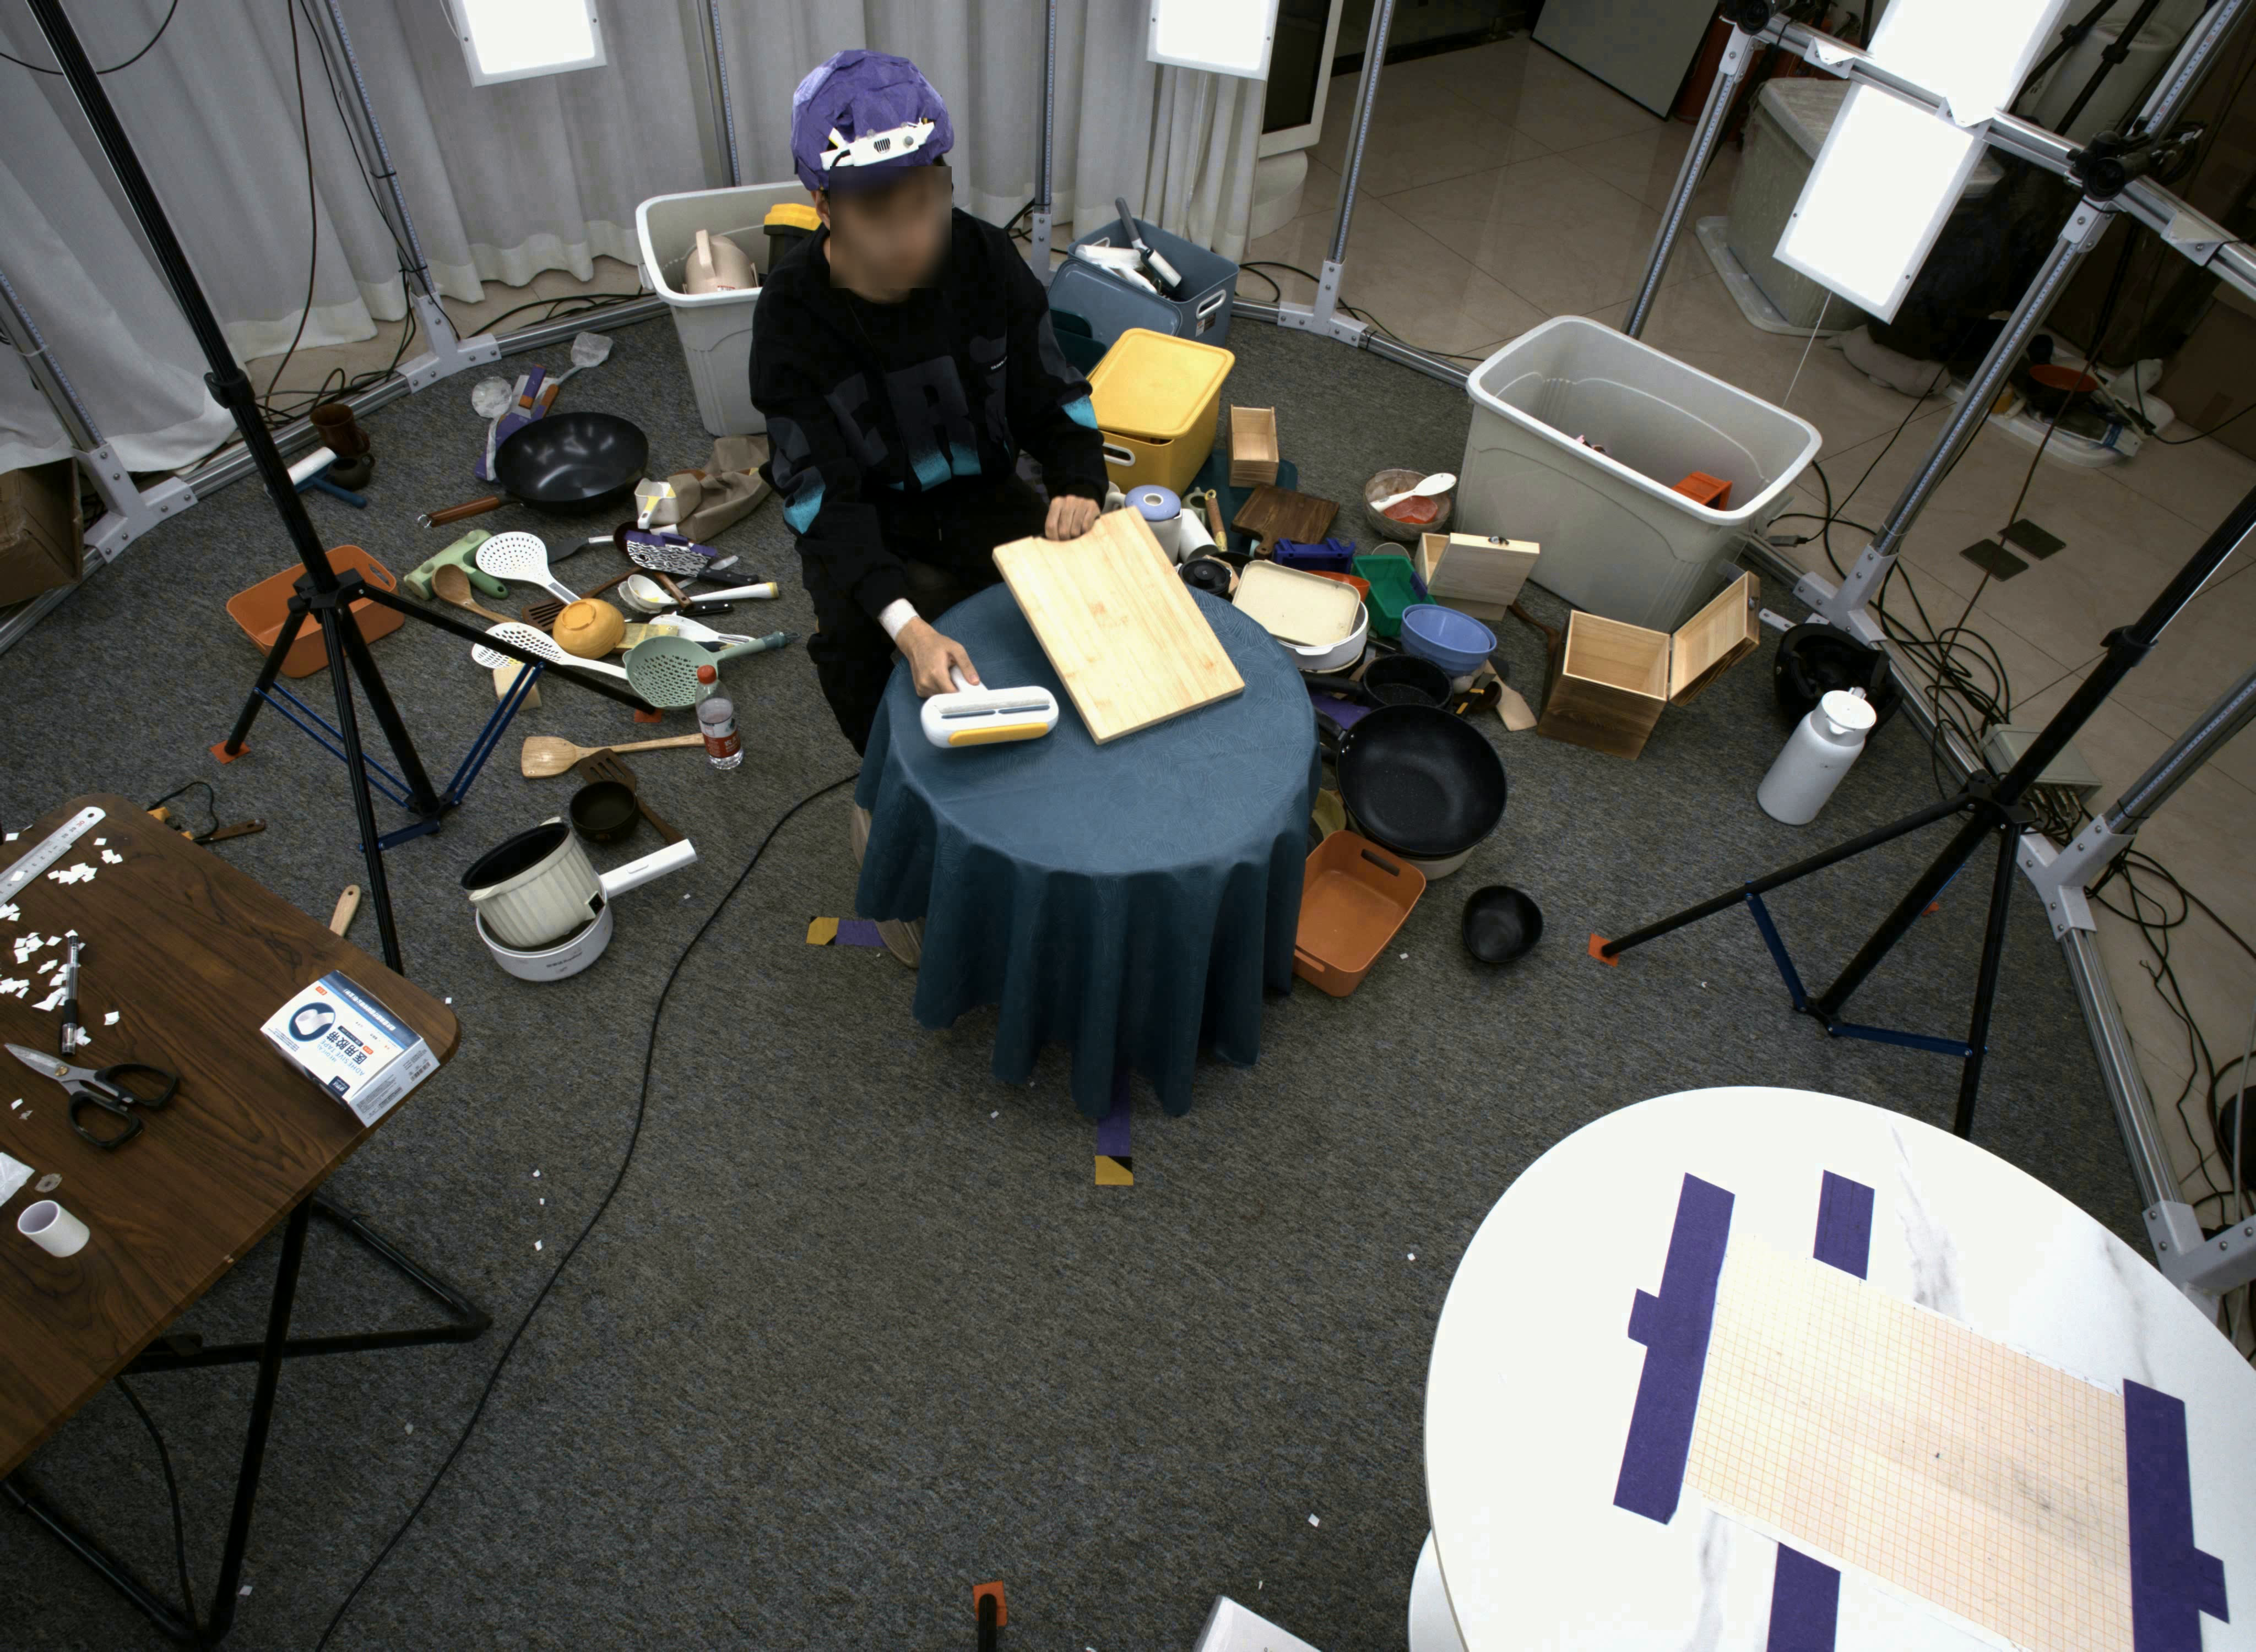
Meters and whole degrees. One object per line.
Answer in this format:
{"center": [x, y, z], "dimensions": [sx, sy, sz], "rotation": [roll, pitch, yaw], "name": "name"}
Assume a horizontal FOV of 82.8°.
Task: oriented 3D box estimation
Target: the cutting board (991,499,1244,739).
{"center": [-0.017, -0.305, 1.858], "dimensions": [0.251, 0.023, 0.354], "rotation": [-22, 69, -21], "name": "cutting board"}

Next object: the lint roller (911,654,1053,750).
{"center": [-0.215, -0.183, 1.762], "dimensions": [0.192, 0.072, 0.197], "rotation": [-7, 49, -23], "name": "lint roller"}
